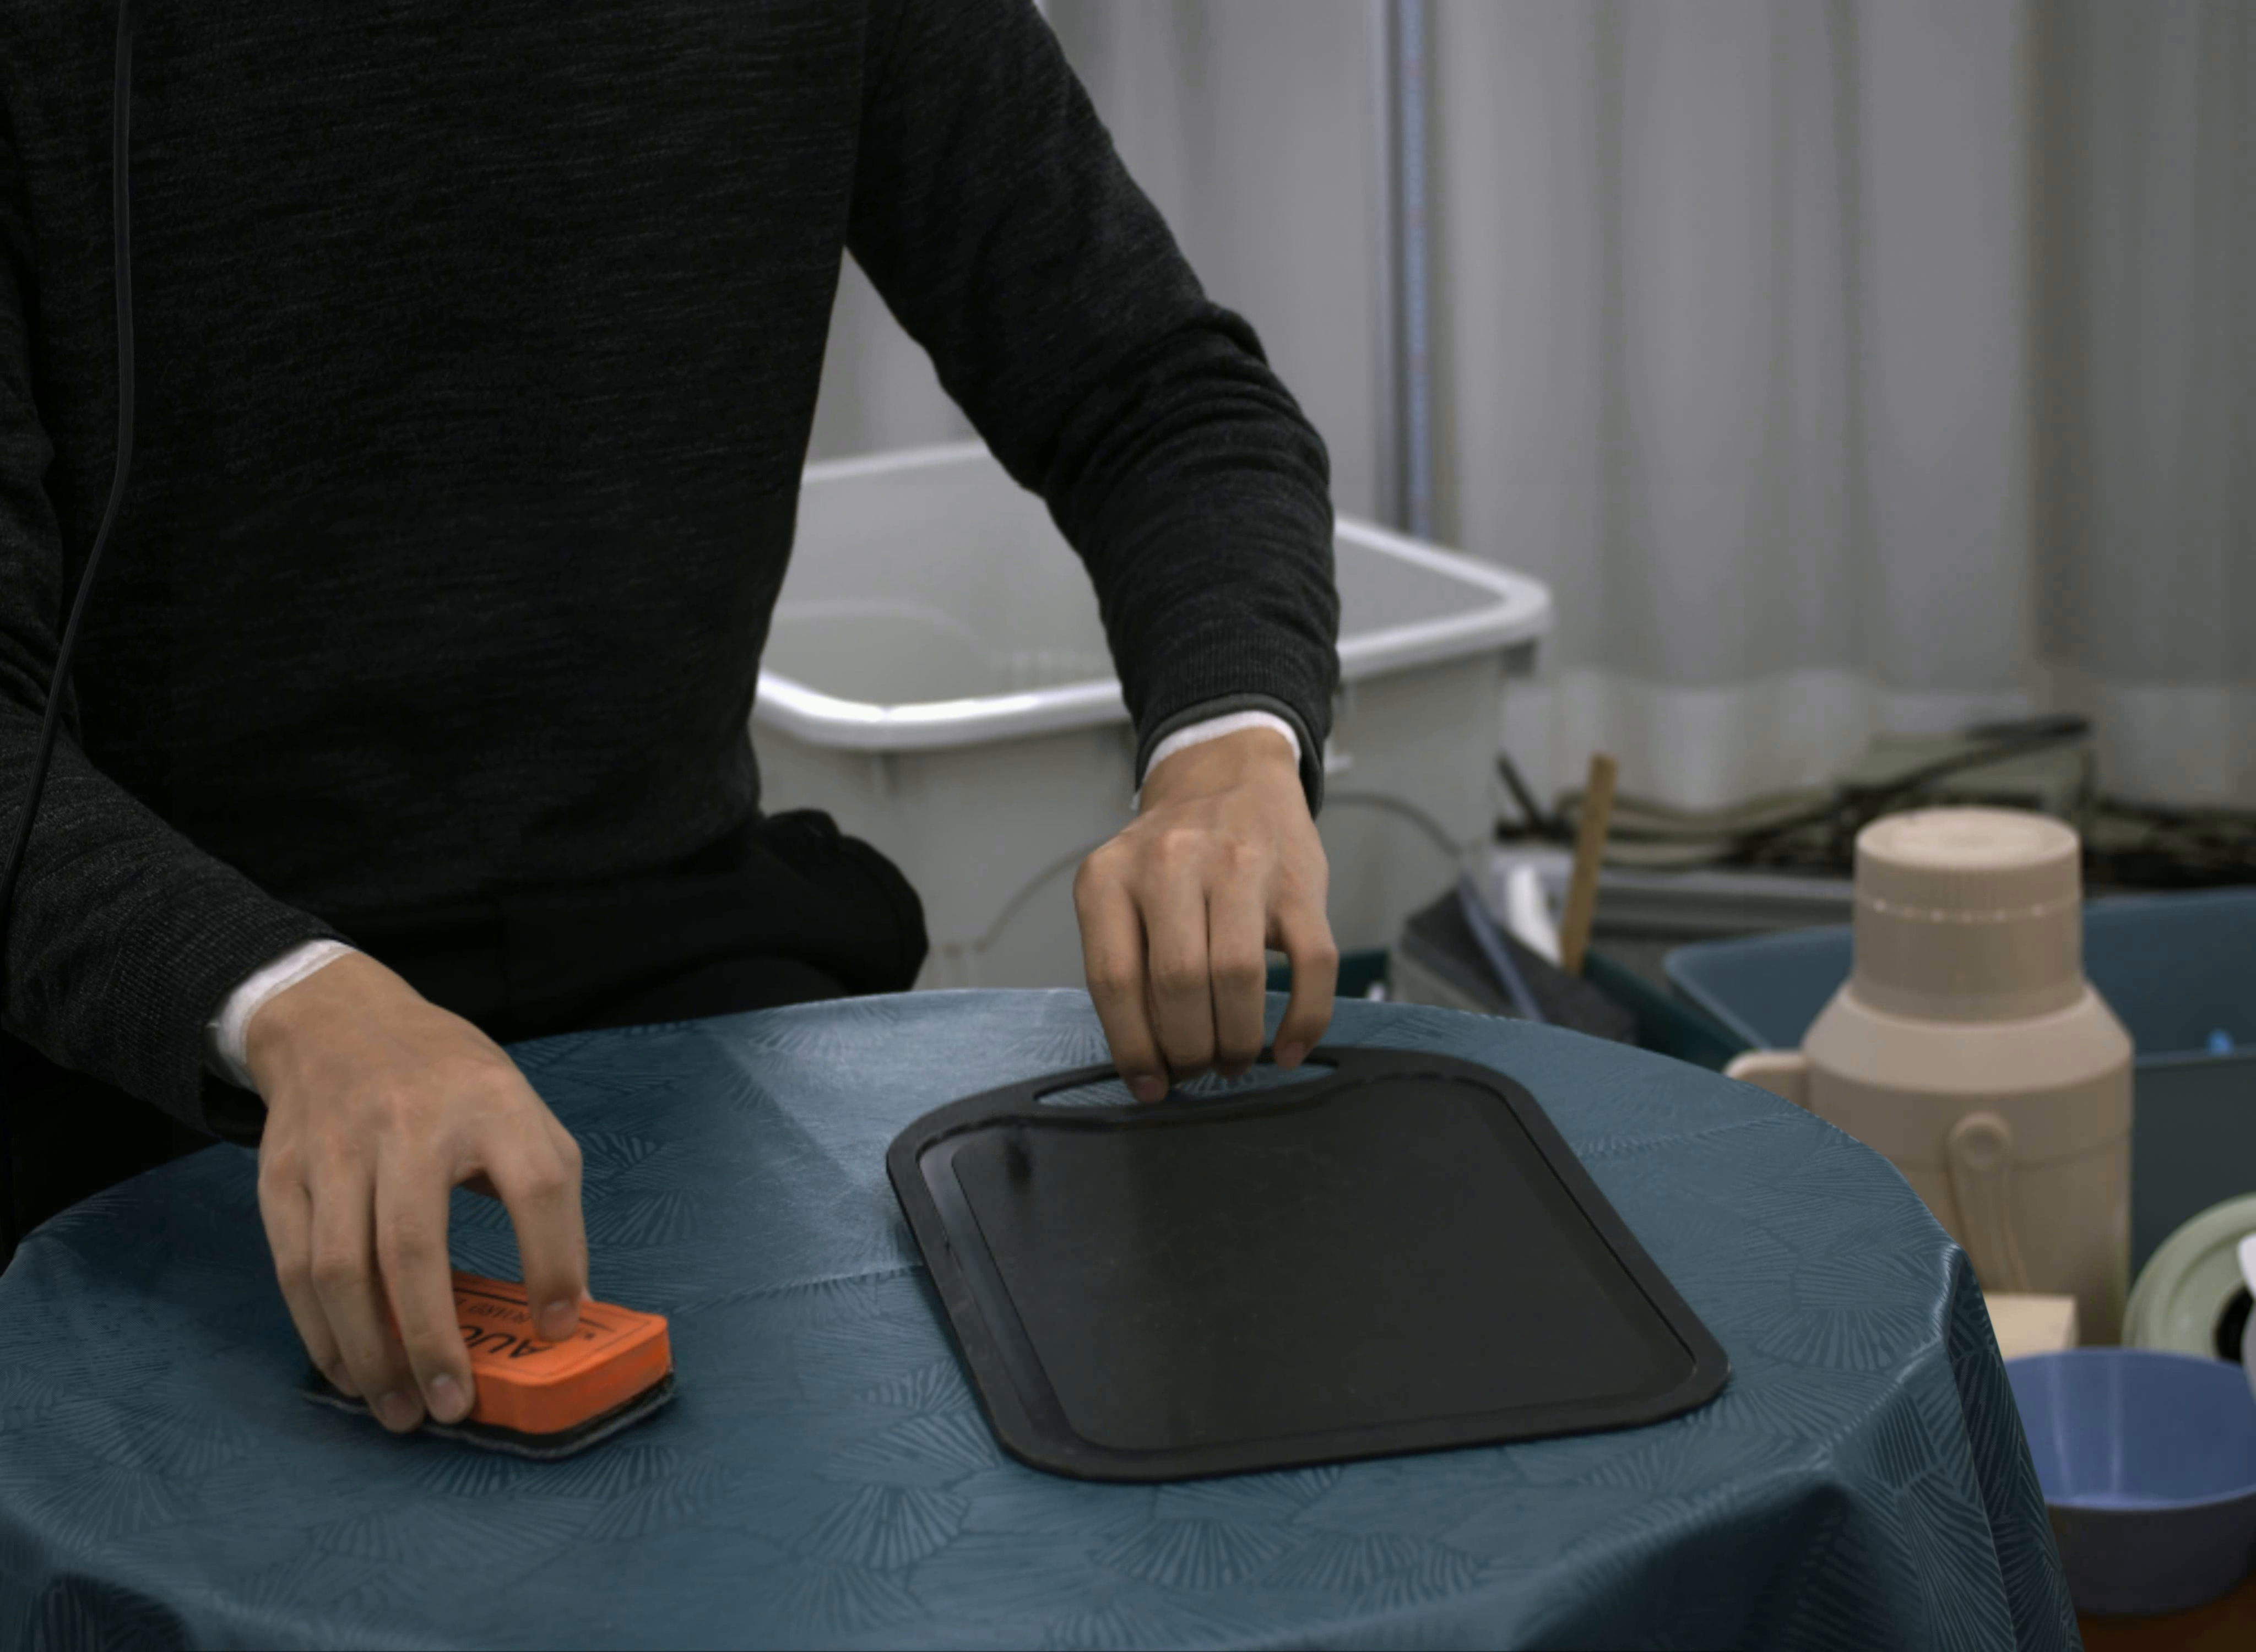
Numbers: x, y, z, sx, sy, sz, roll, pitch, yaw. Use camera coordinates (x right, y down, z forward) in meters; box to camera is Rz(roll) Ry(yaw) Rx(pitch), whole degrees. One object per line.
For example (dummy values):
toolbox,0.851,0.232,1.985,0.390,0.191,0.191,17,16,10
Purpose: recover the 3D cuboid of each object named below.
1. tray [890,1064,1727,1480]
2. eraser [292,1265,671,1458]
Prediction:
tray,0.044,0.125,1.636,0.210,0.010,0.328,-5,17,-9
eraser,-0.184,0.152,1.556,0.108,0.023,0.059,10,19,40
